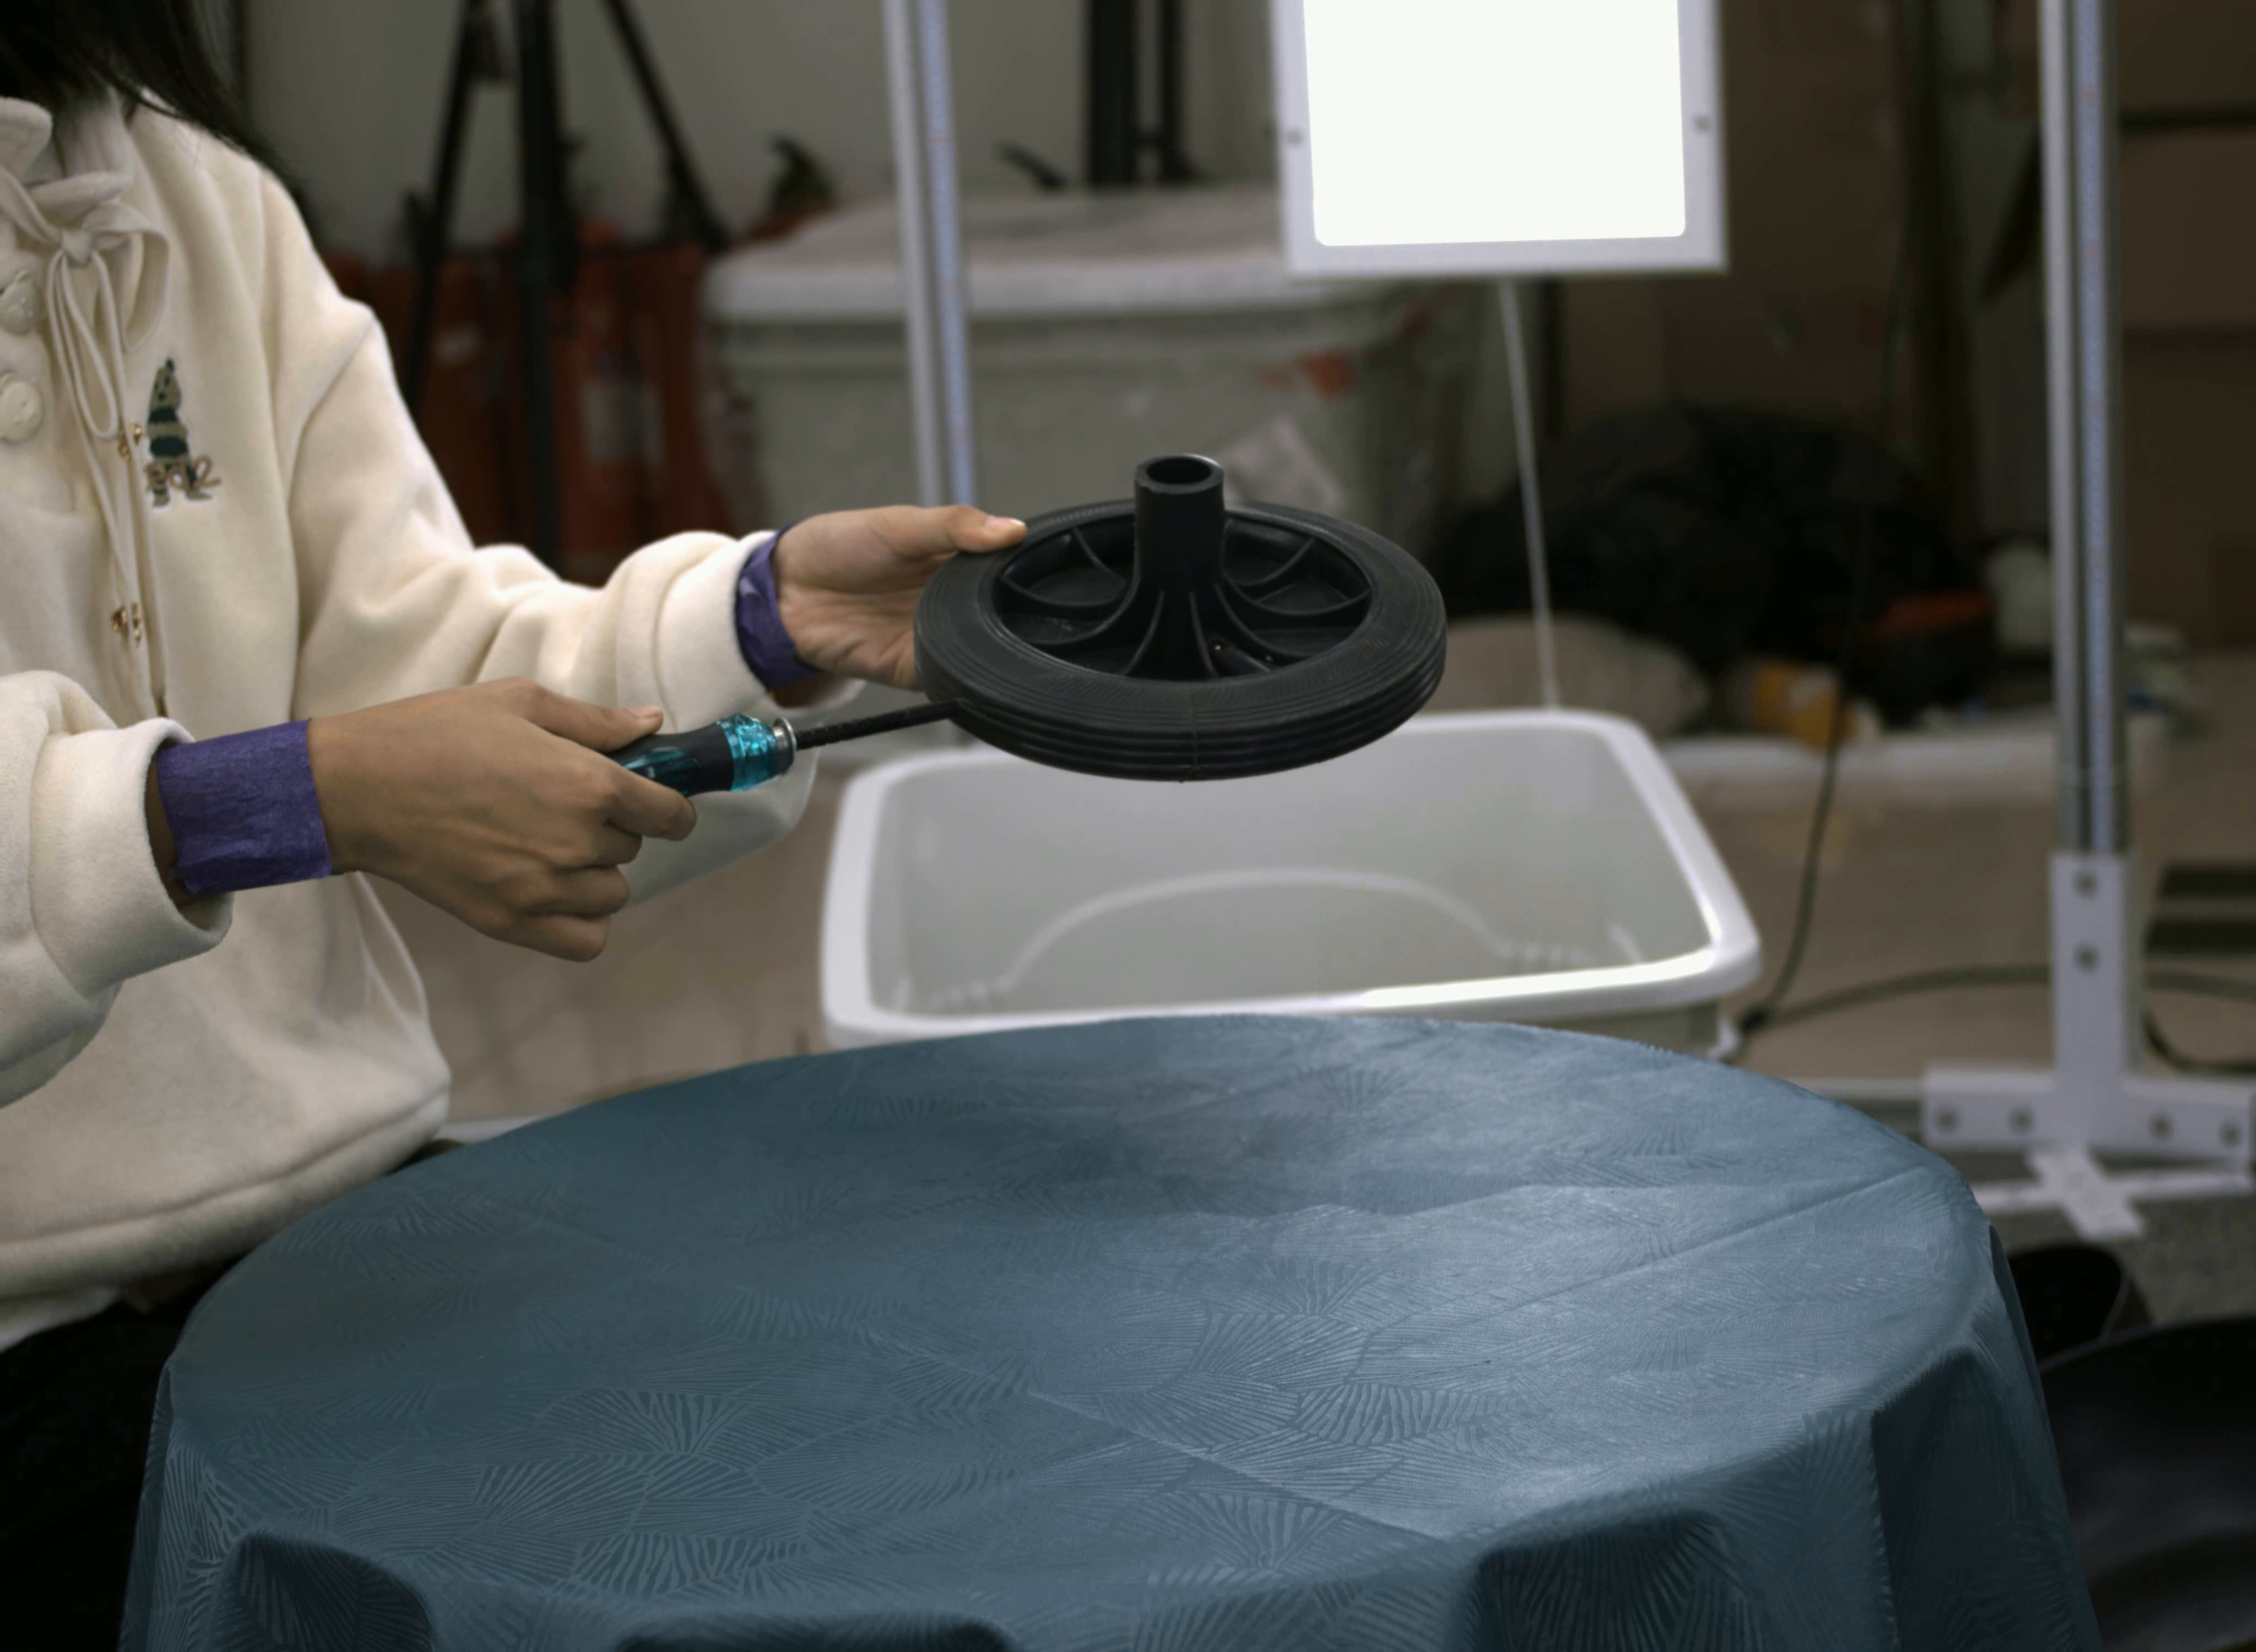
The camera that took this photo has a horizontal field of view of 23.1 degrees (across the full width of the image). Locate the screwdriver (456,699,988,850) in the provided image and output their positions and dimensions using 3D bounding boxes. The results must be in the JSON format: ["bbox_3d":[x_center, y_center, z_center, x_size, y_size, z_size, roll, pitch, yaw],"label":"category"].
[{"bbox_3d":[-0.133,-0.023,1.847,0.186,0.034,0.034,-13,16,-21],"label":"screwdriver"}]

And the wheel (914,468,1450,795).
[{"bbox_3d":[0.020,-0.083,1.927,0.193,0.079,0.183,19,35,29],"label":"wheel"}]
